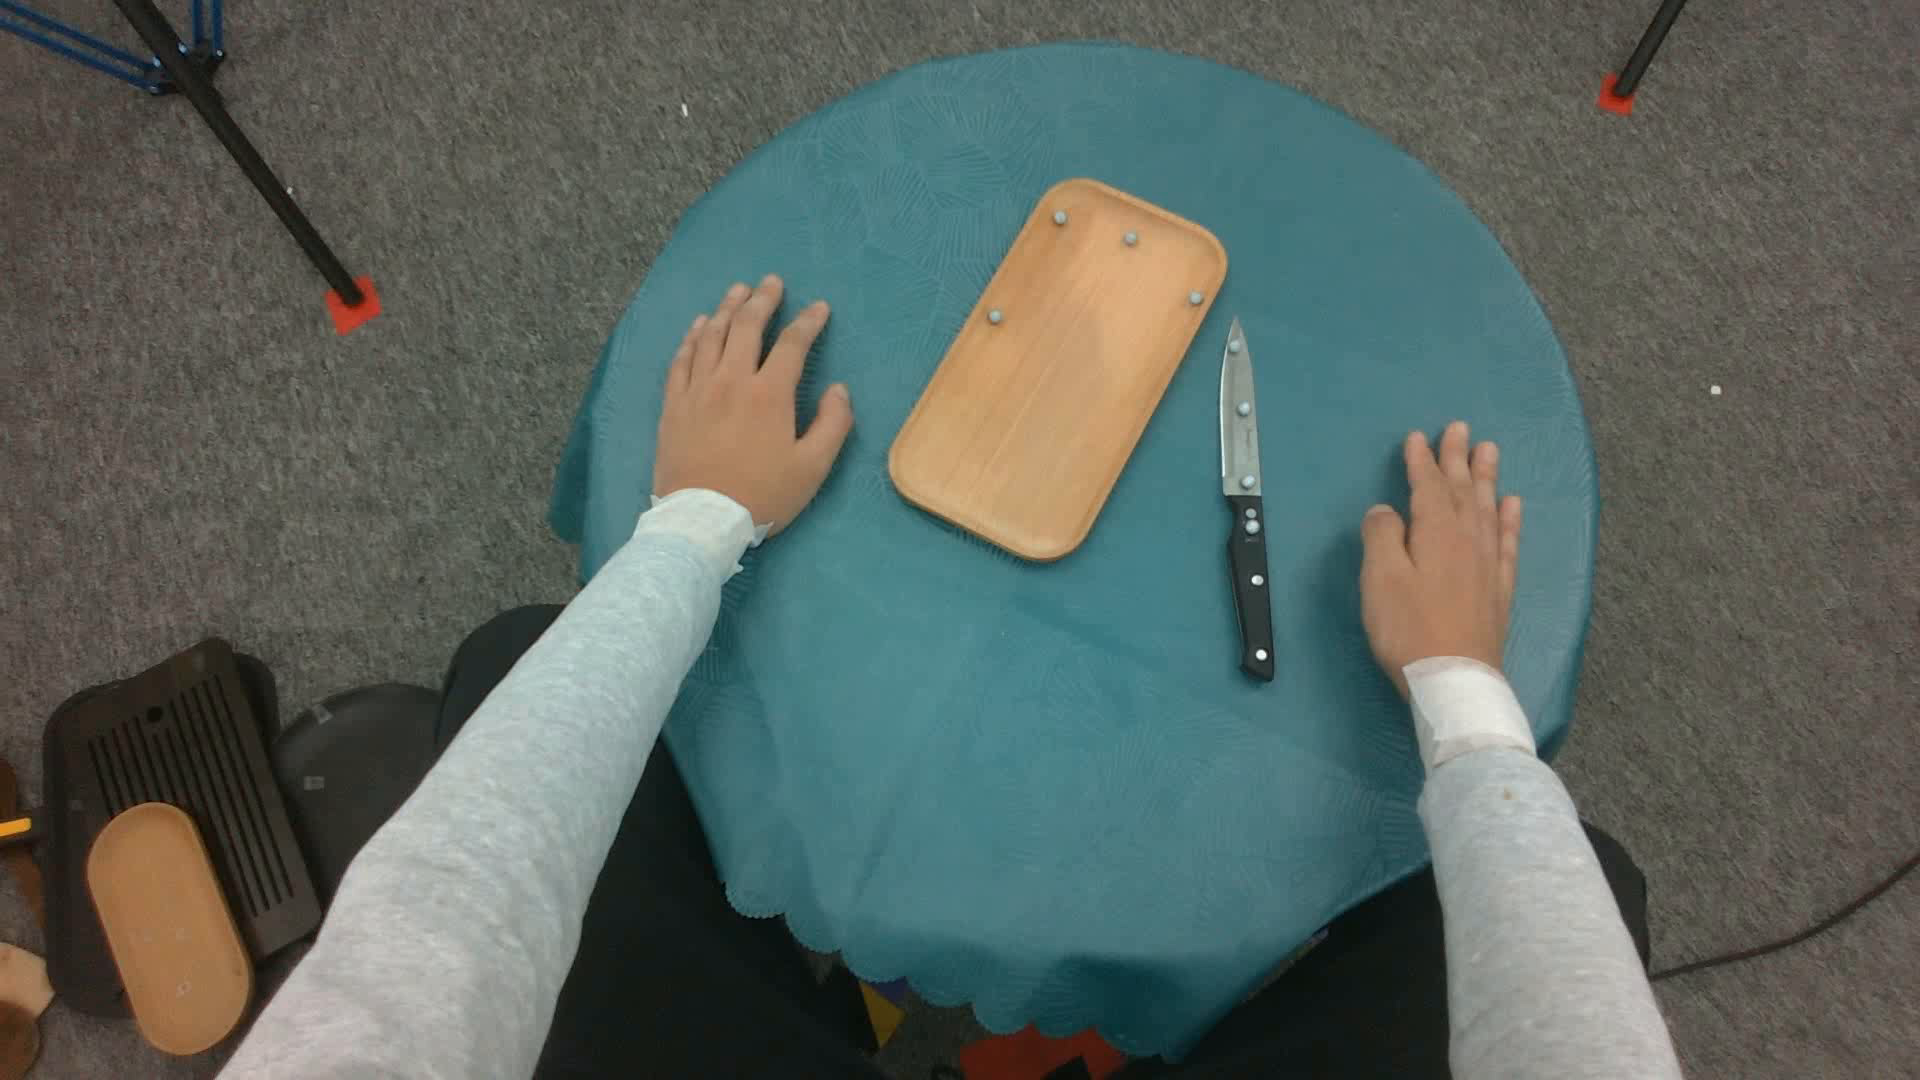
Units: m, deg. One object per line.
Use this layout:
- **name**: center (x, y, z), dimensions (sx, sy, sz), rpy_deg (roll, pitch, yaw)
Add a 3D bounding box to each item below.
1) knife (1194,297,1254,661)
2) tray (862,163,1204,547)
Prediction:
- **knife**: center (0.155, -0.043, 0.810), dimensions (0.024, 0.016, 0.239), rpy_deg (1, 66, -2)
- **tray**: center (0.047, -0.117, 0.833), dimensions (0.130, 0.023, 0.251), rpy_deg (26, 71, 11)
